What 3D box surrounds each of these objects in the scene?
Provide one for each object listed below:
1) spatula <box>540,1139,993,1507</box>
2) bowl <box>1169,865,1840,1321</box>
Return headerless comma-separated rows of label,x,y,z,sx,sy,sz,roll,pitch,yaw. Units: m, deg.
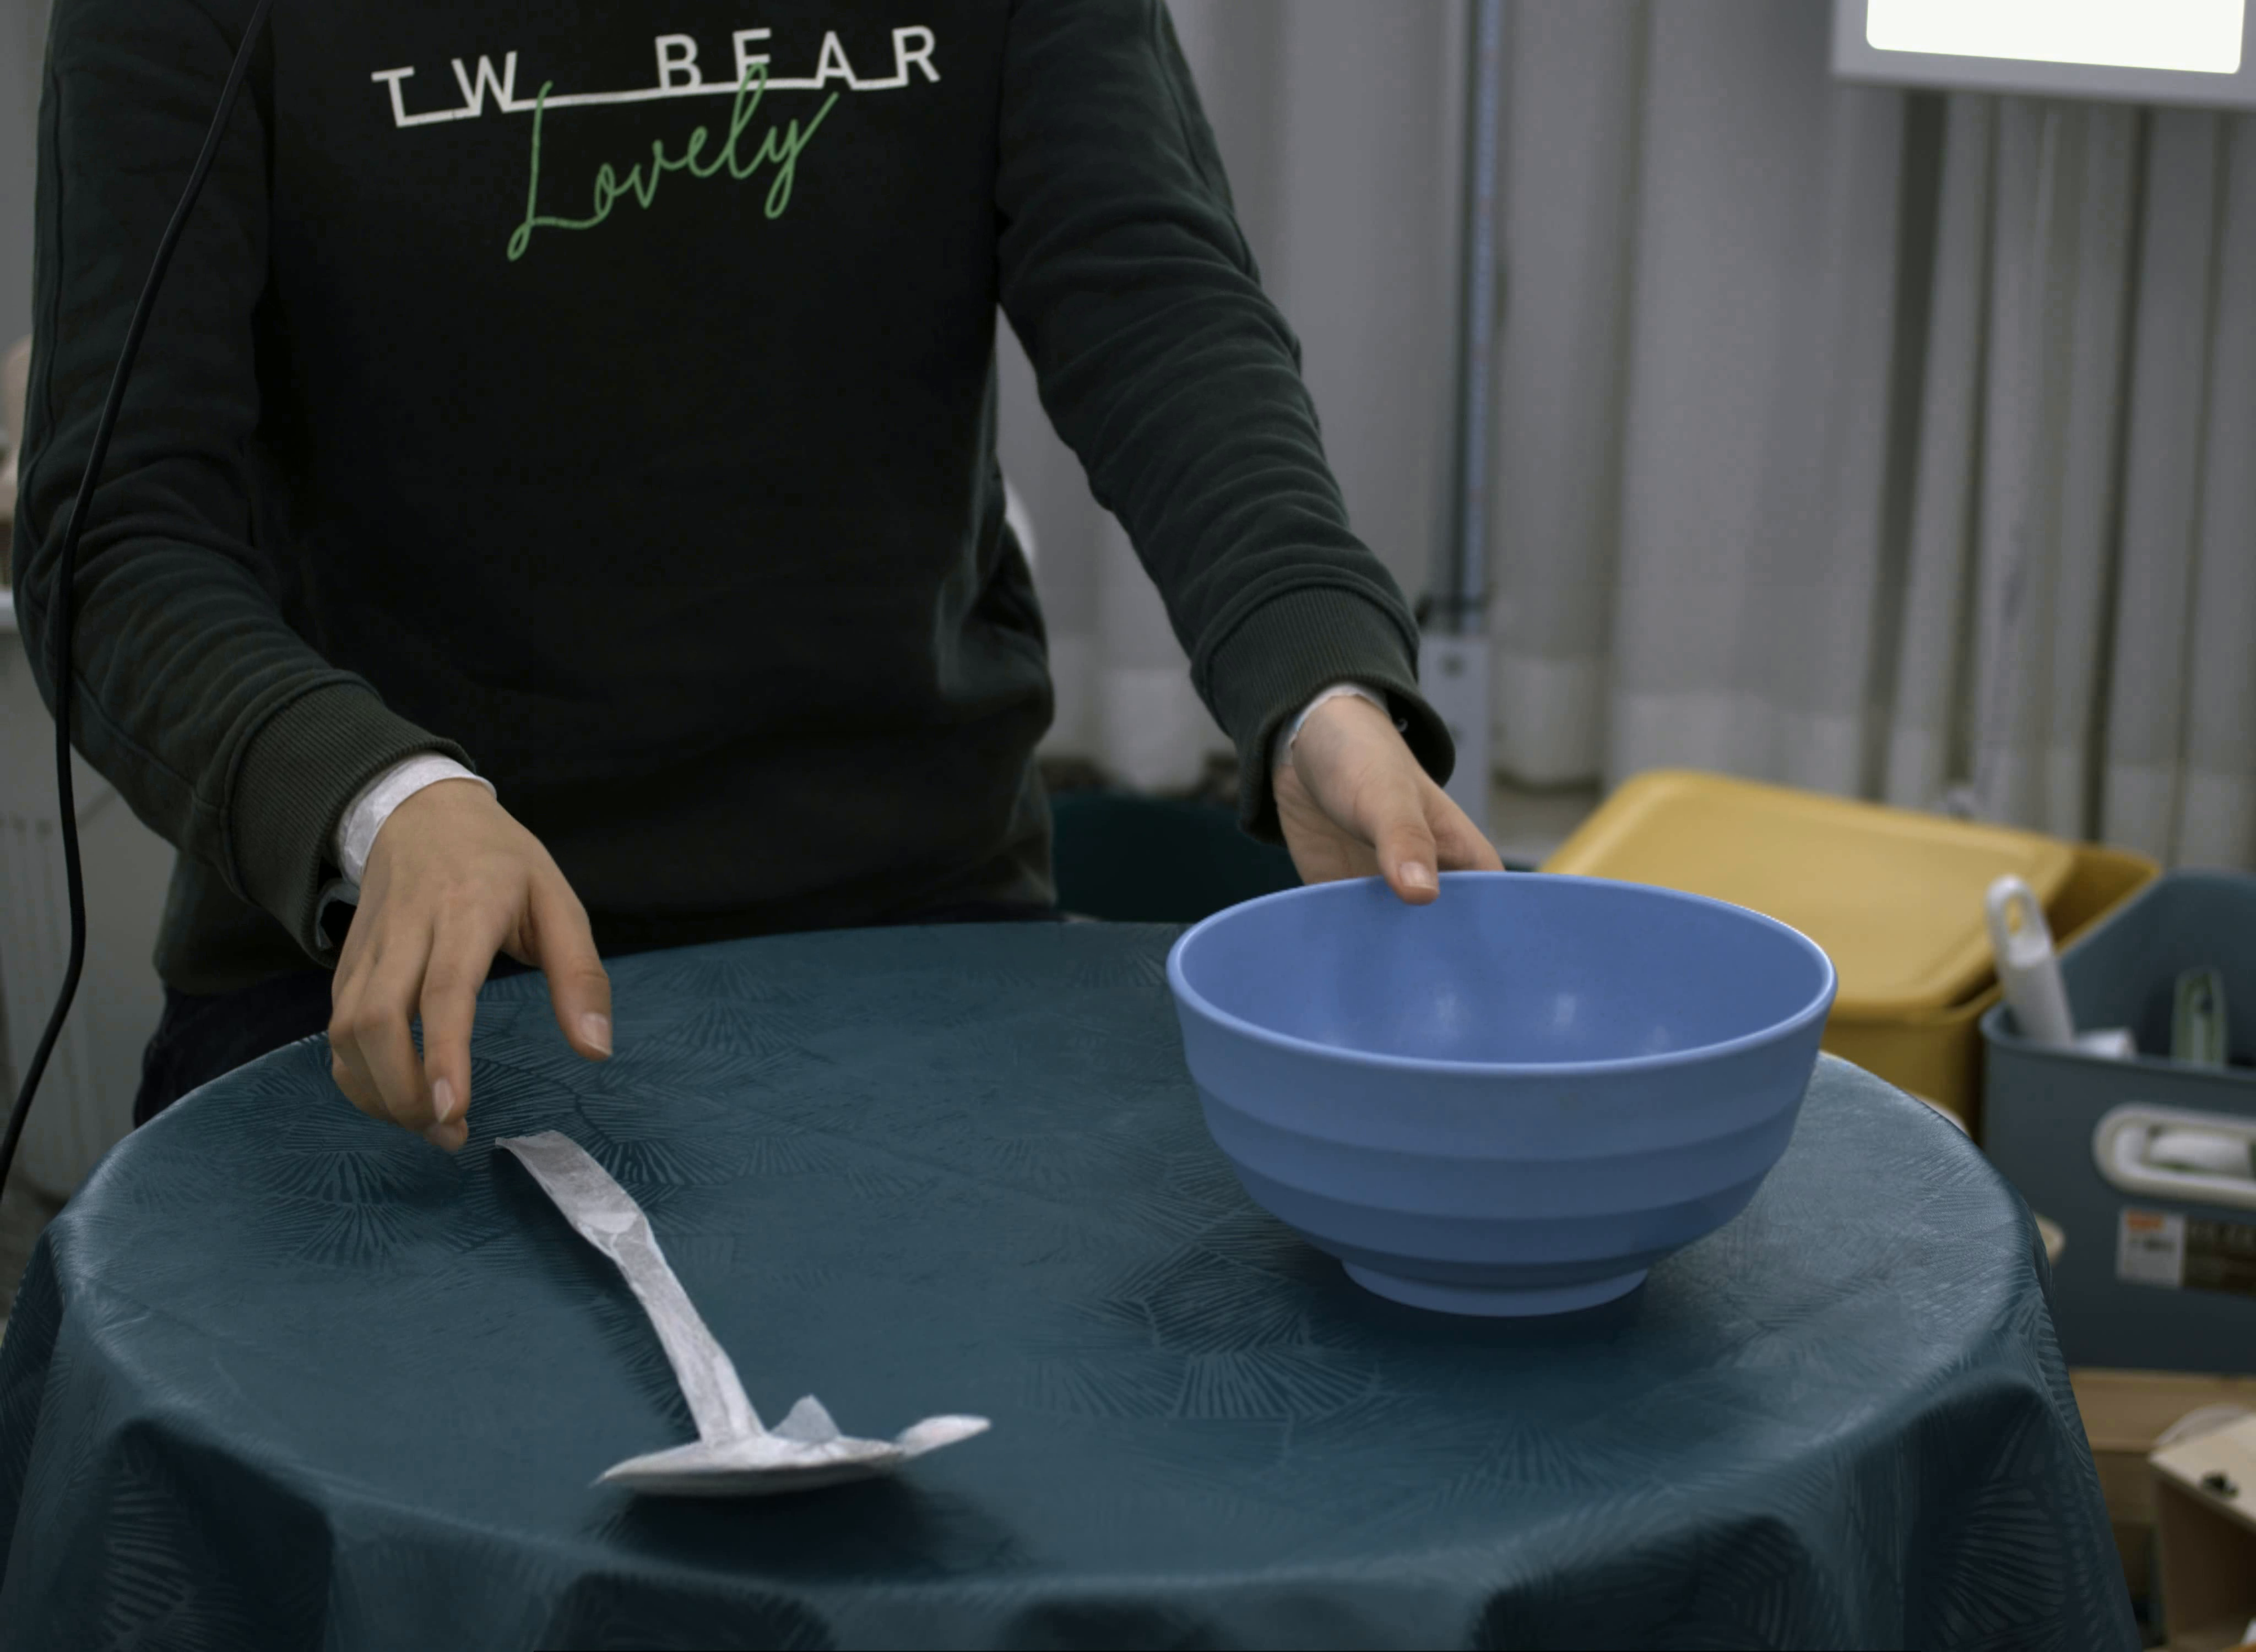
spatula,-0.127,0.131,1.486,0.099,0.045,0.361,-6,17,-16
bowl,0.109,0.085,1.553,0.196,0.096,0.195,1,17,0
